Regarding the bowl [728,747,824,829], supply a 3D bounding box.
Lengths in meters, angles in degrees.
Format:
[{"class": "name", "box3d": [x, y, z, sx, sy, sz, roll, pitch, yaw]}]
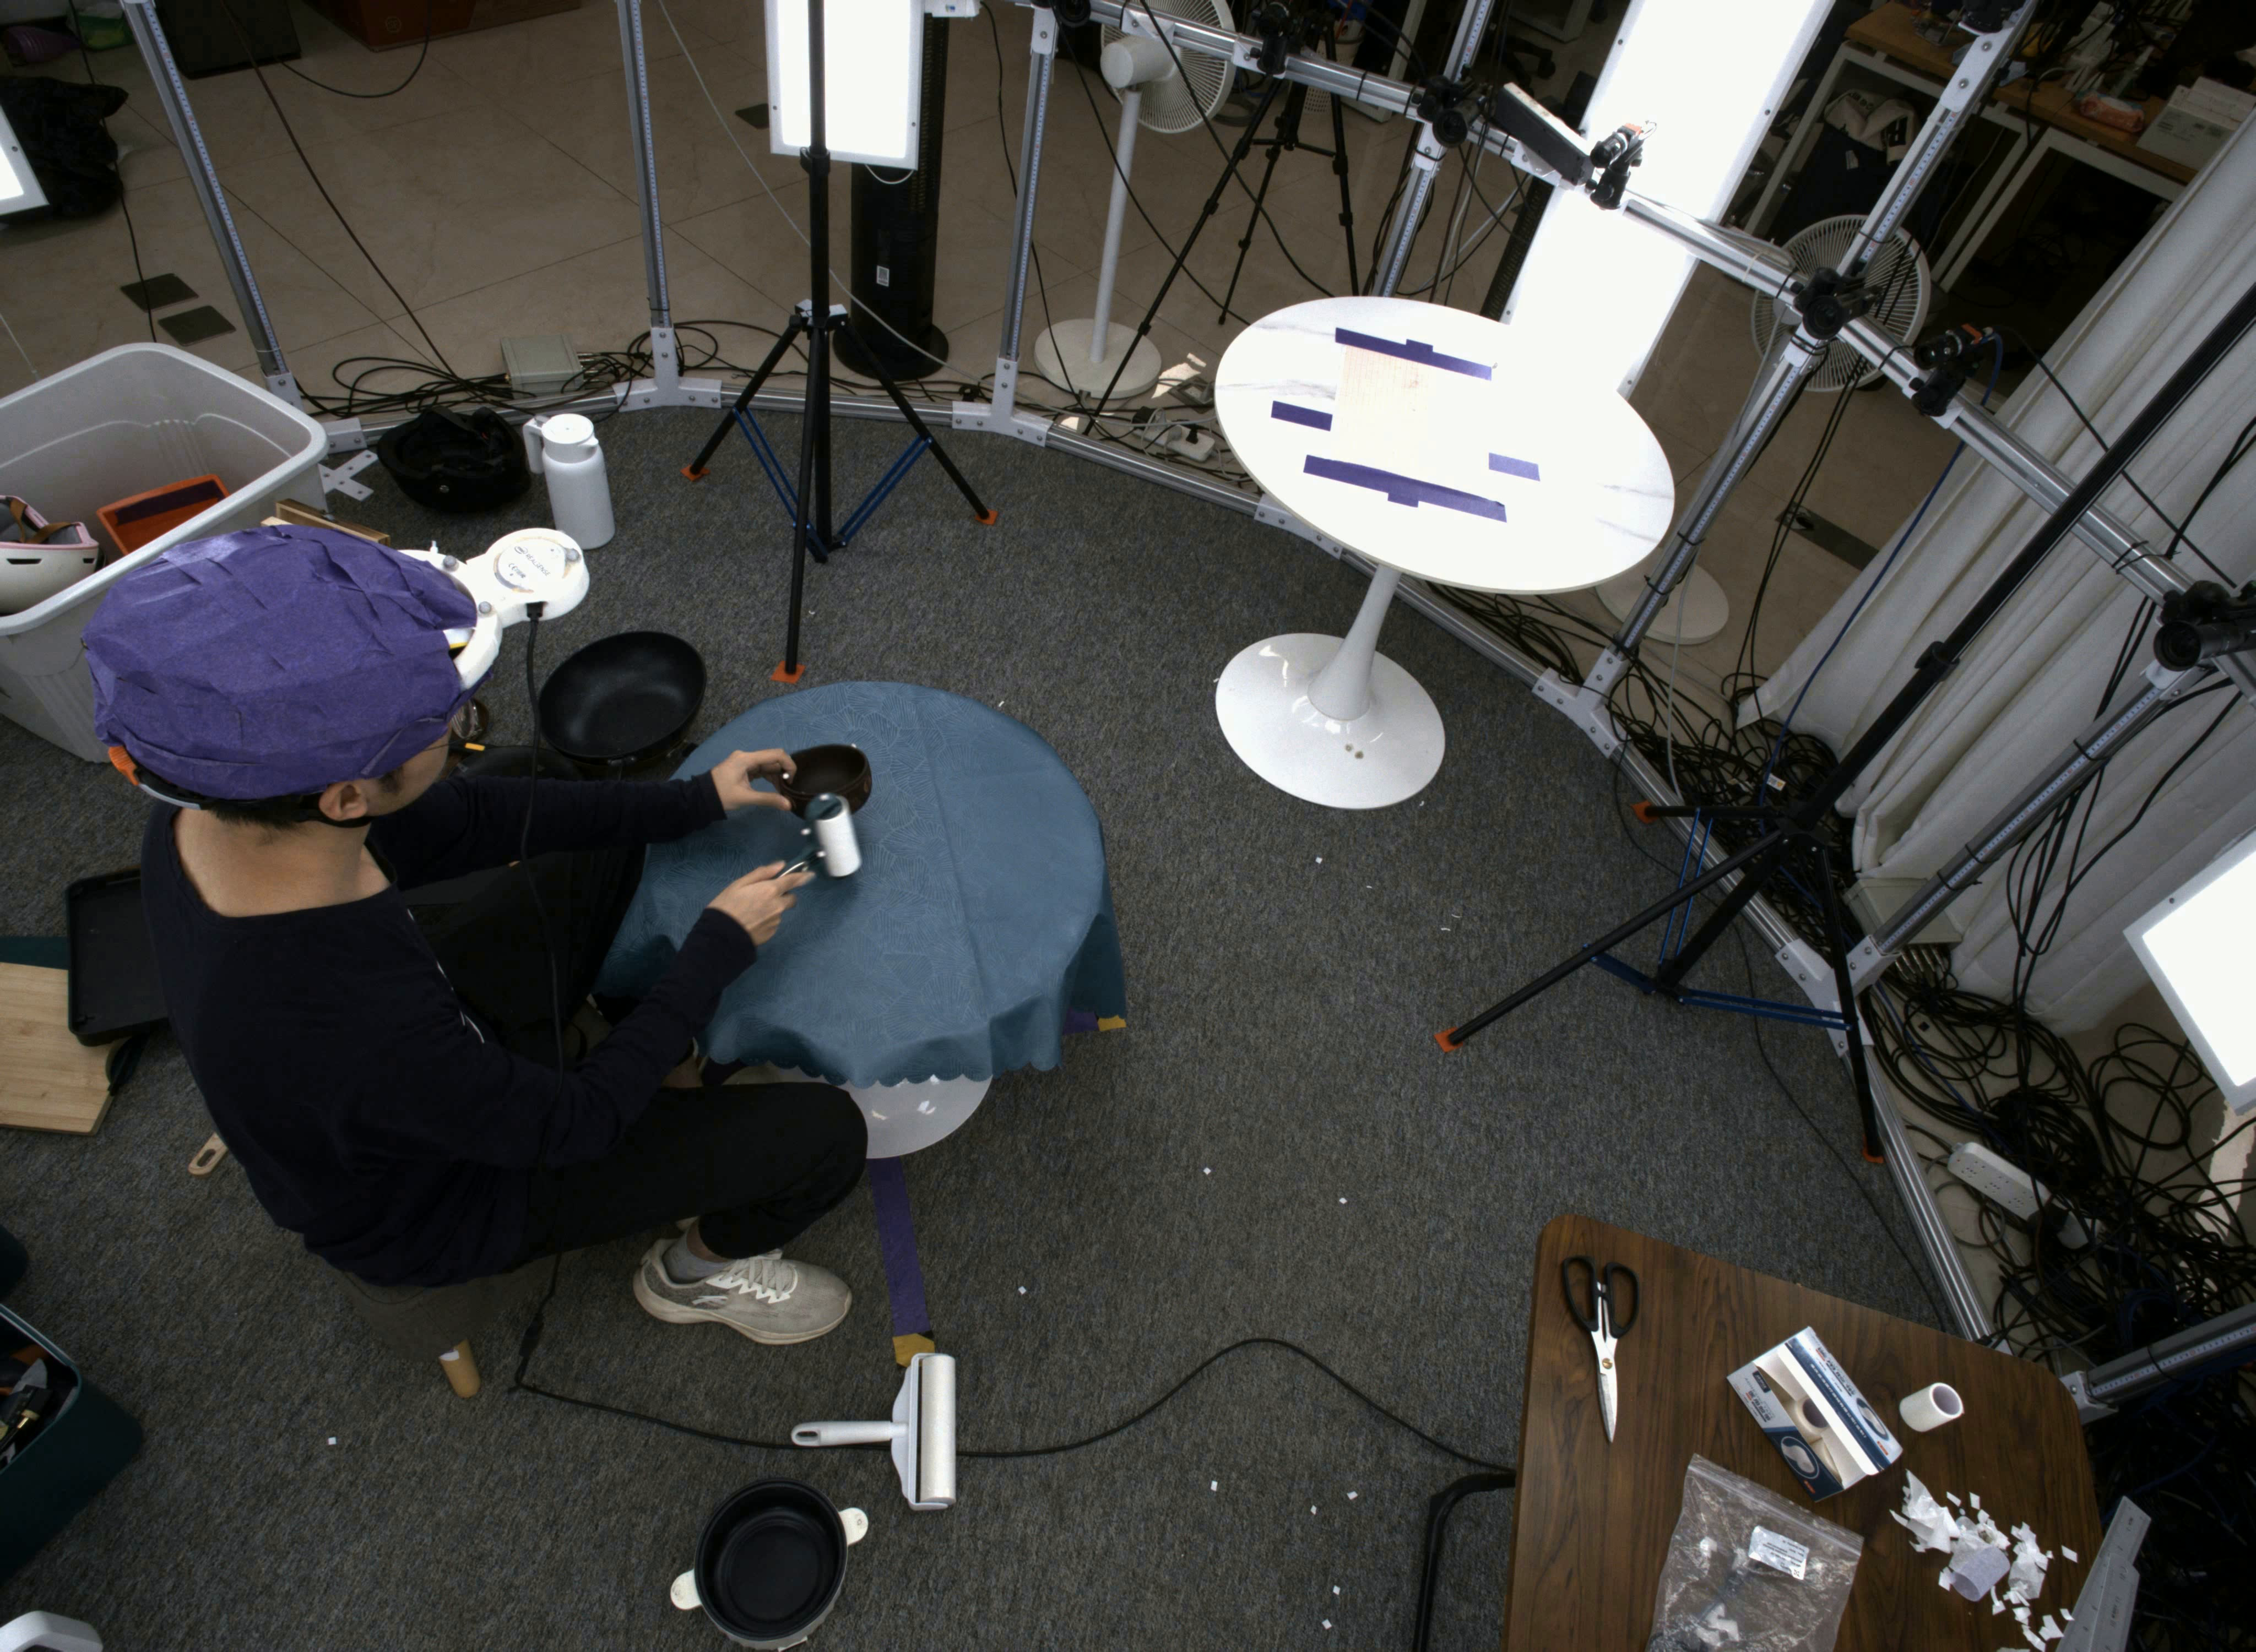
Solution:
[{"class": "bowl", "box3d": [-0.447, -0.041, 1.660, 0.116, 0.072, 0.115, 0, 40, 2]}]

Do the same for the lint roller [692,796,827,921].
[{"class": "lint roller", "box3d": [-0.451, 0.058, 1.577, 0.046, 0.139, 0.180, 23, 53, 29]}]
